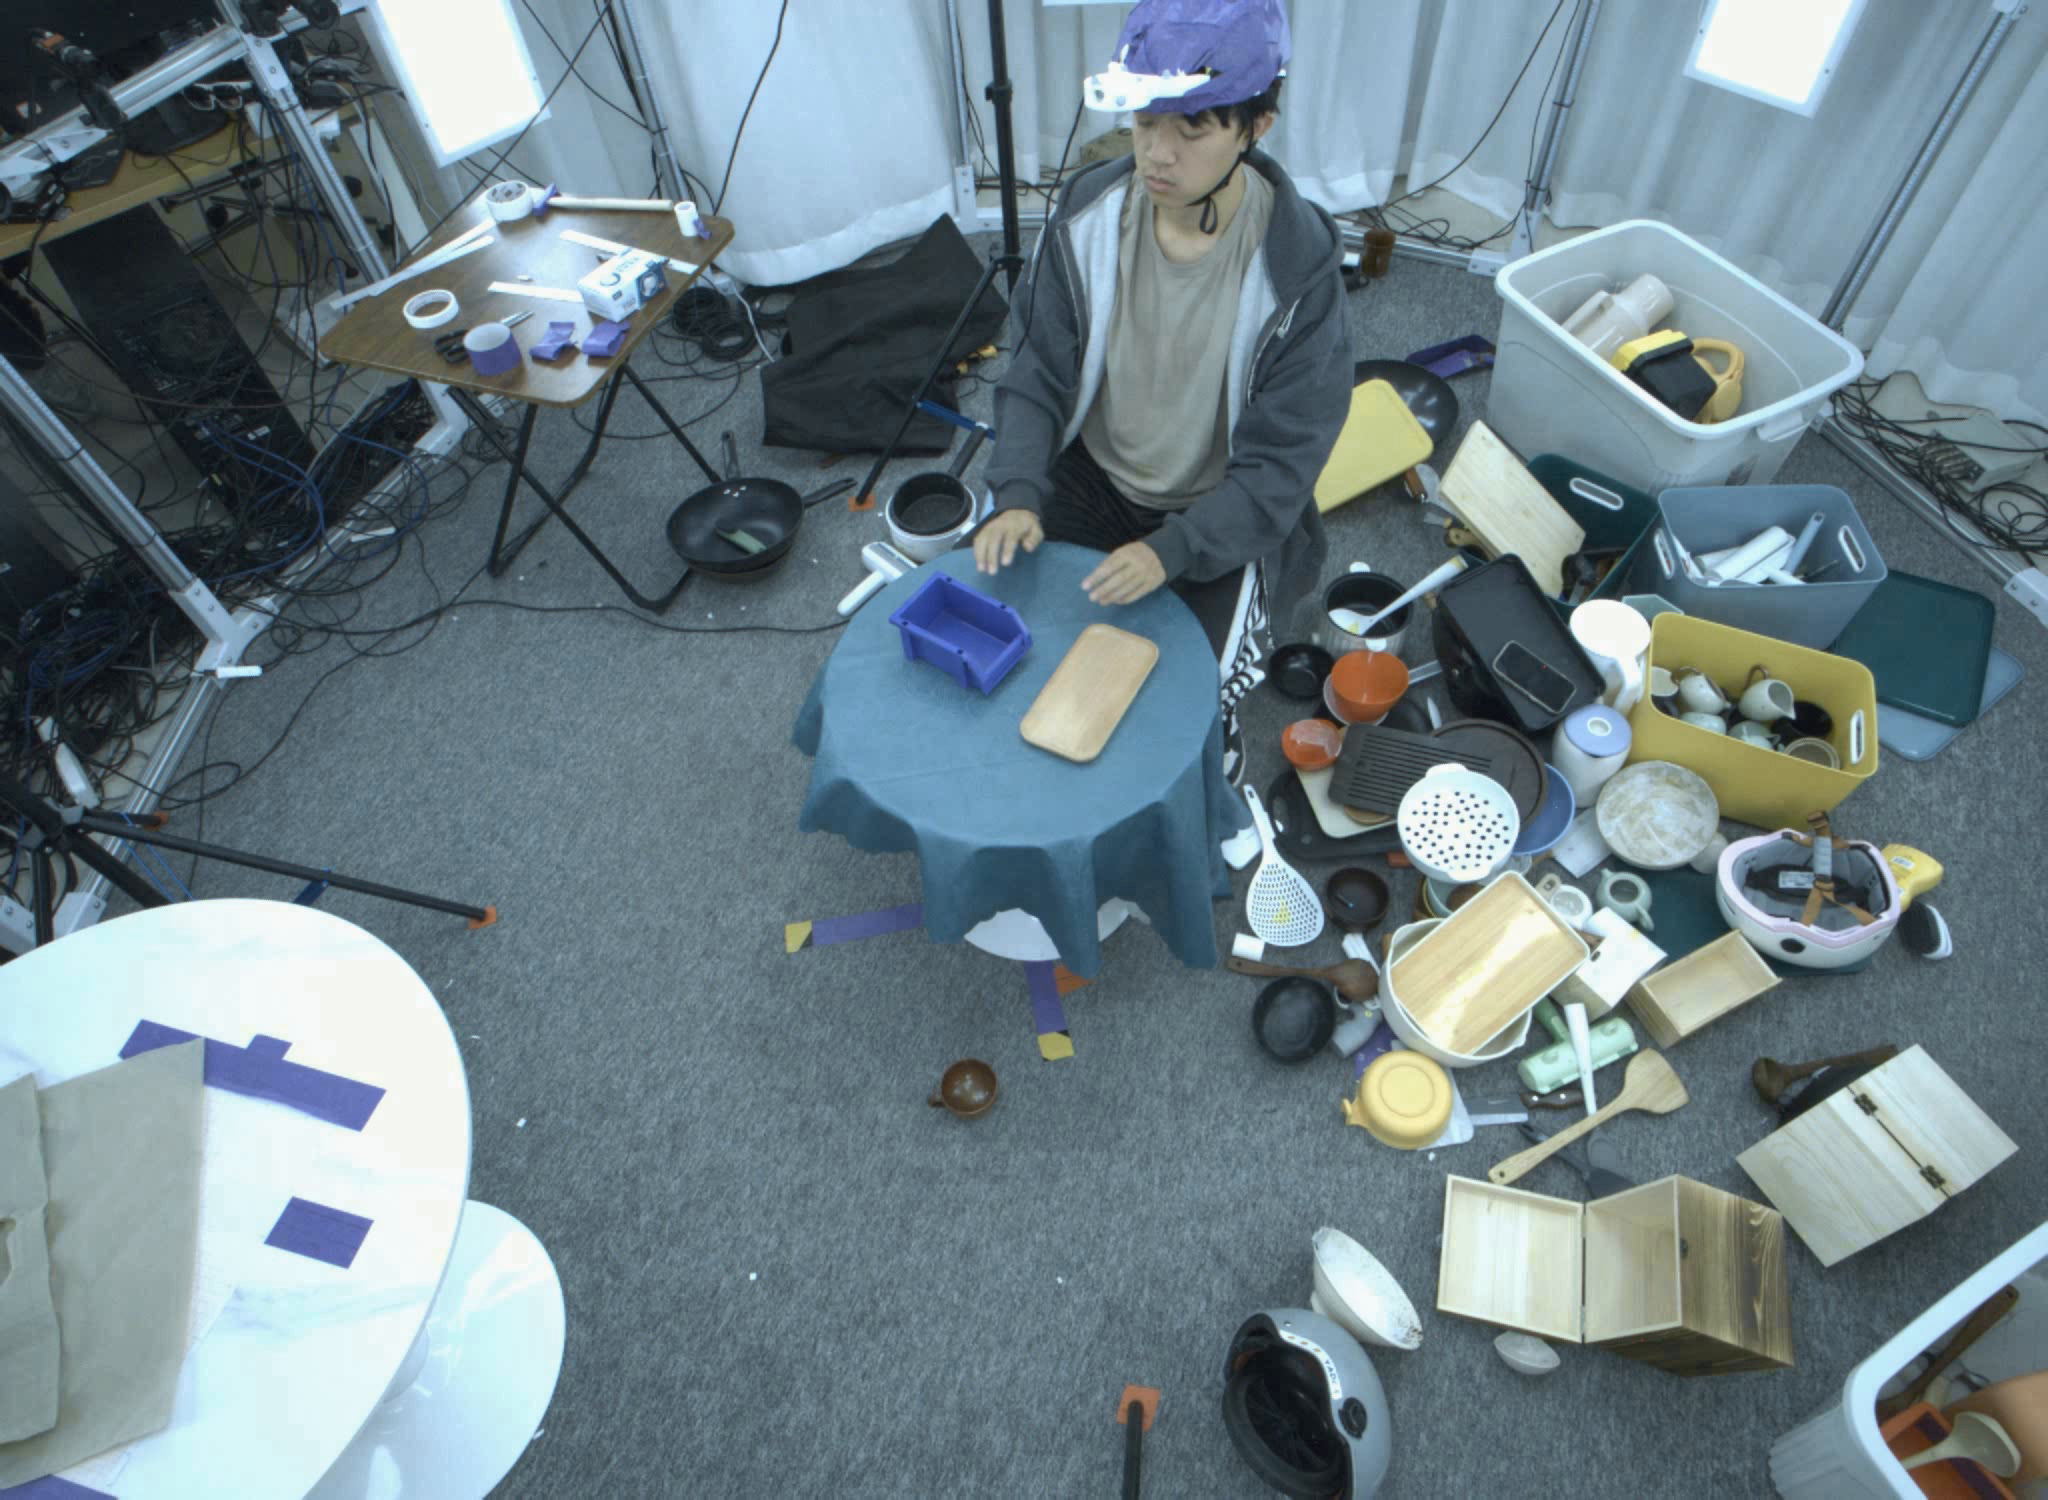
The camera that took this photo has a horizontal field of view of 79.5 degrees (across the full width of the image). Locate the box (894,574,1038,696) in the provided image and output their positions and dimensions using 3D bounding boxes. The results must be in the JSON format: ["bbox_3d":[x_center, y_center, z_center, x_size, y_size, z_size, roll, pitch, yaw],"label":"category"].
[{"bbox_3d":[-0.085,-0.173,1.865,0.176,0.083,0.125,29,61,25],"label":"box"}]

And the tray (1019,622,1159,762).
[{"bbox_3d":[0.099,-0.089,1.839,0.129,0.023,0.251,25,59,15],"label":"tray"}]
